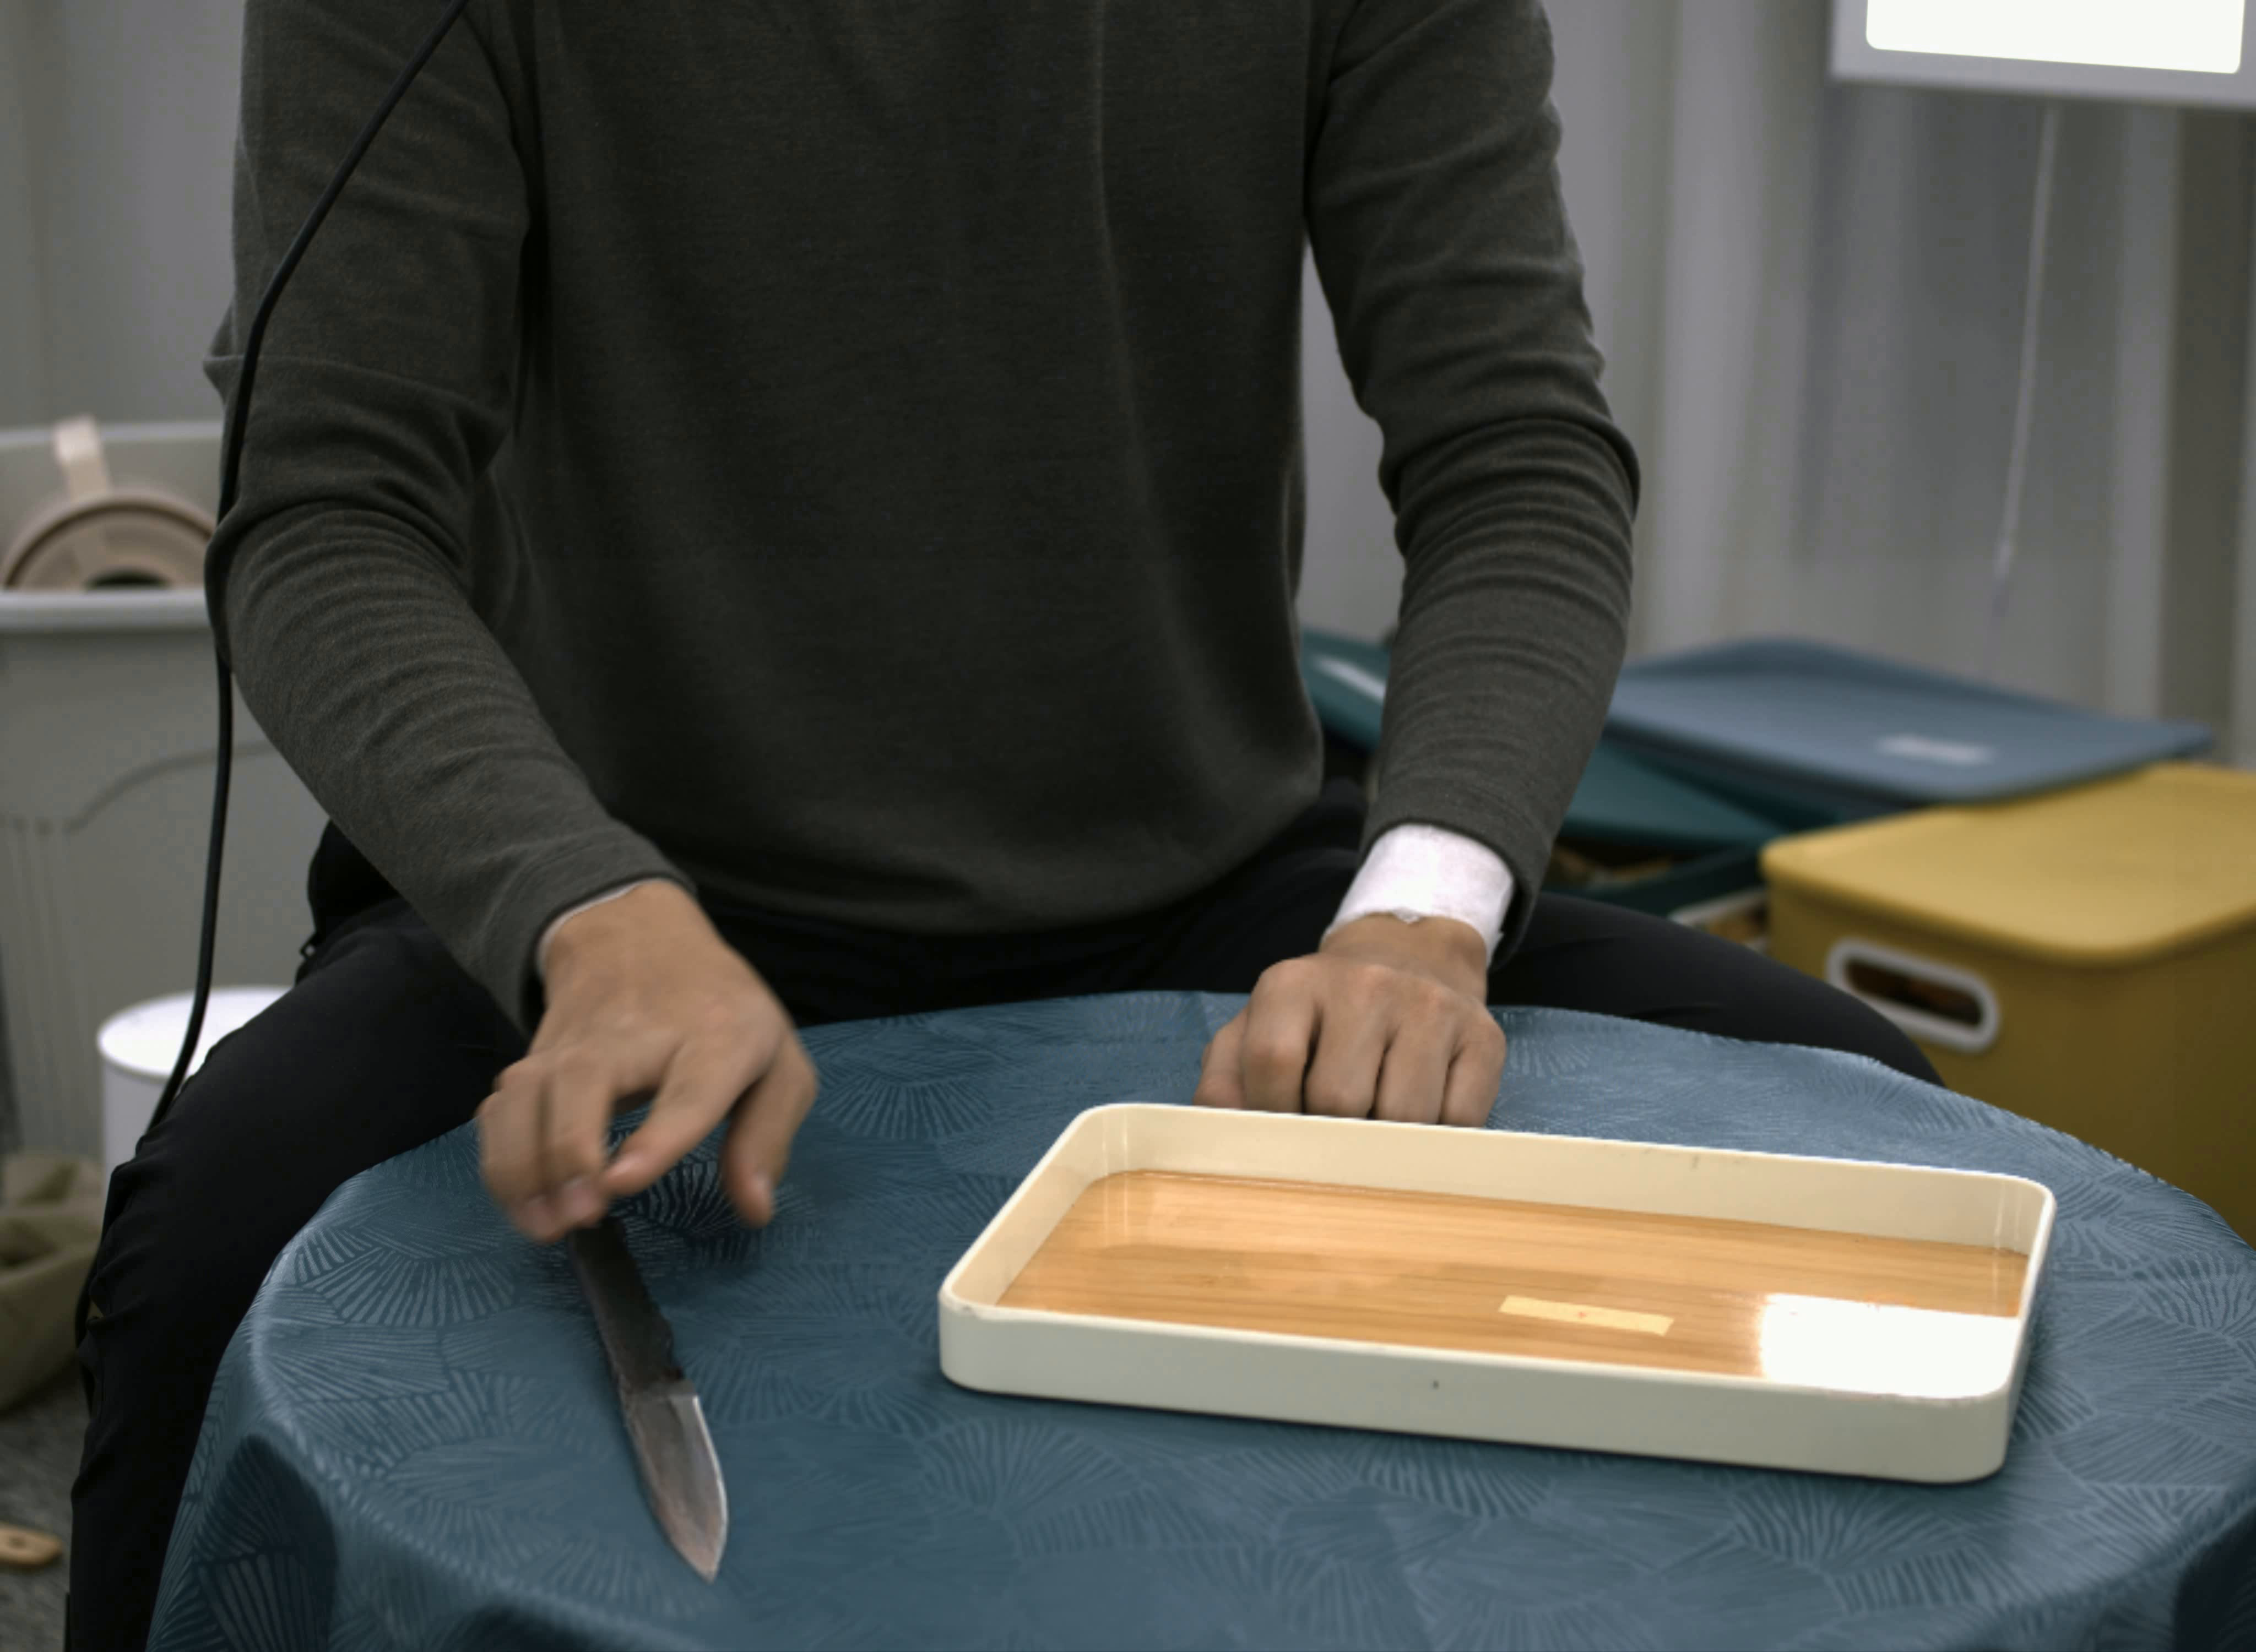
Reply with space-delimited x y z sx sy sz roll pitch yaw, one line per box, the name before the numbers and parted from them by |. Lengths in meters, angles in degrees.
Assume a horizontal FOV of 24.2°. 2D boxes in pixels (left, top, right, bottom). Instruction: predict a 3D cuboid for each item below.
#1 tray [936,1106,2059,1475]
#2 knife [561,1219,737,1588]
tray | 0.110 0.131 1.514 0.298 0.027 0.191 4 15 13
knife | -0.132 0.156 1.439 0.024 0.016 0.236 -4 19 -13
